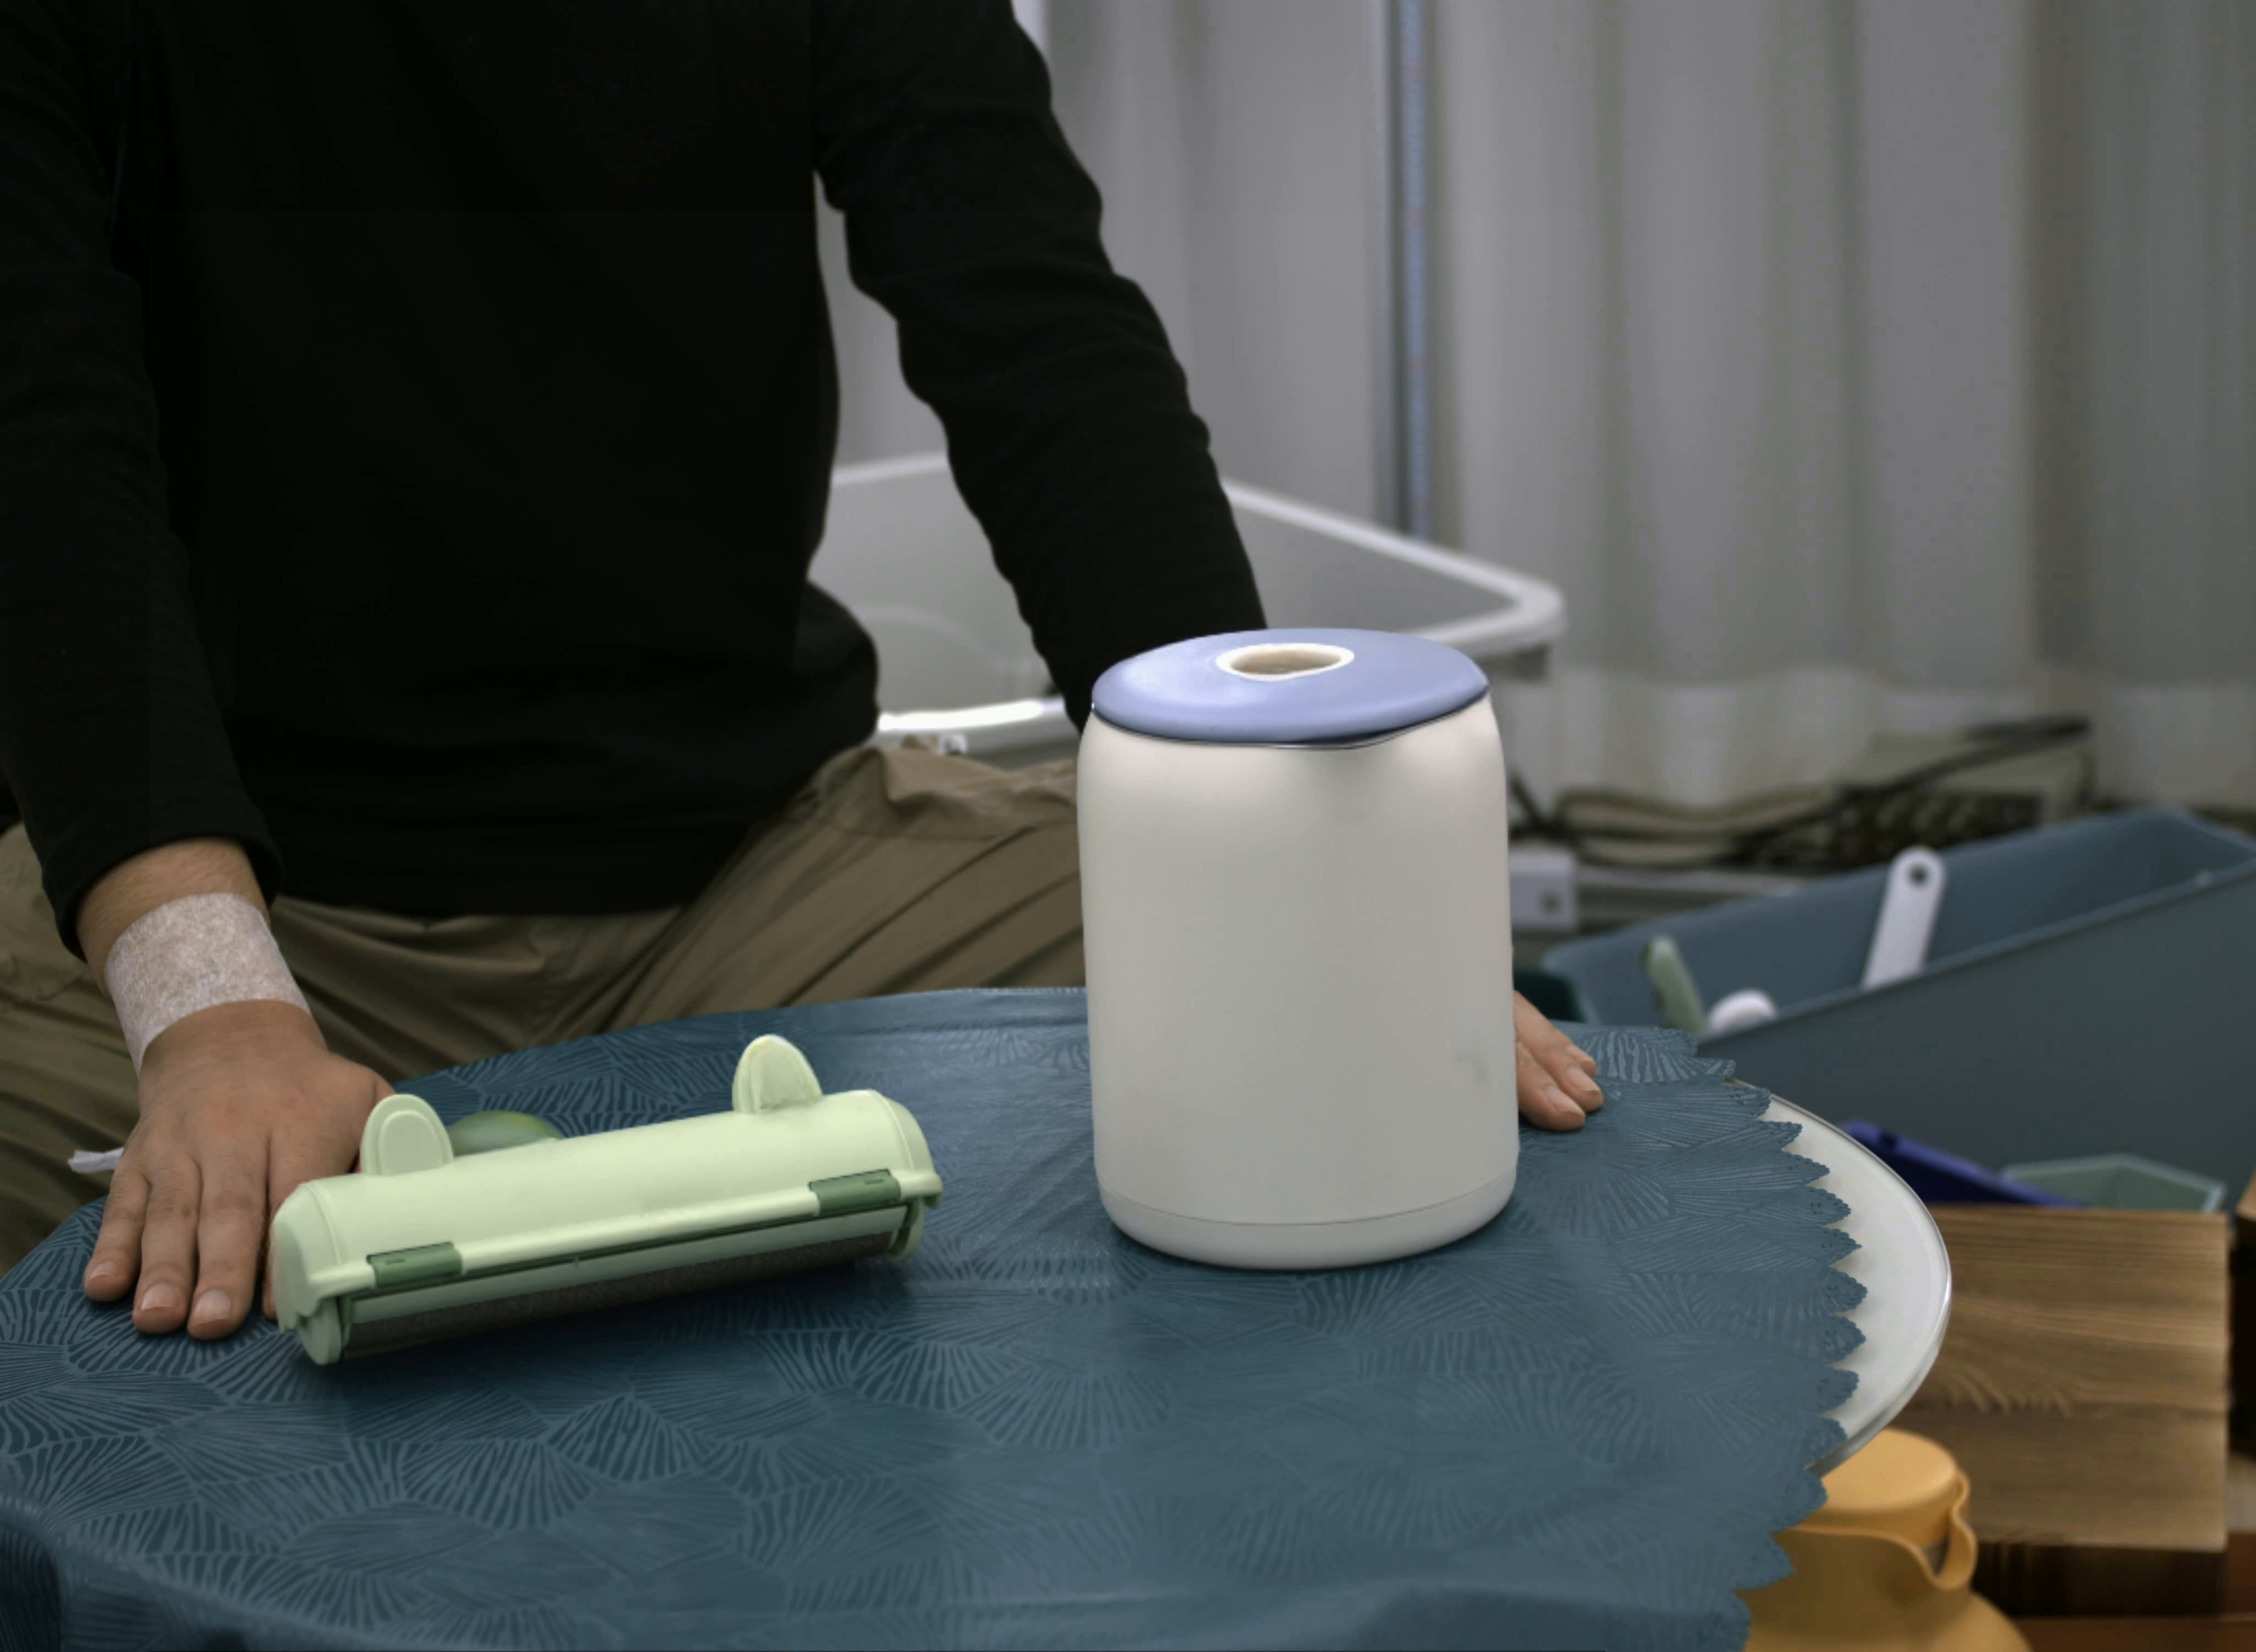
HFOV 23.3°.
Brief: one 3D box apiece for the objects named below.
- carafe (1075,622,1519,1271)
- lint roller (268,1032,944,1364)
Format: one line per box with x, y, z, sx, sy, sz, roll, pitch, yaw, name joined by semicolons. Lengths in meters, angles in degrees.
0.044;0.030;1.691;0.131;0.182;0.192;-6;12;-16;carafe
-0.176;0.097;1.666;0.197;0.082;0.185;-8;18;-22;lint roller
